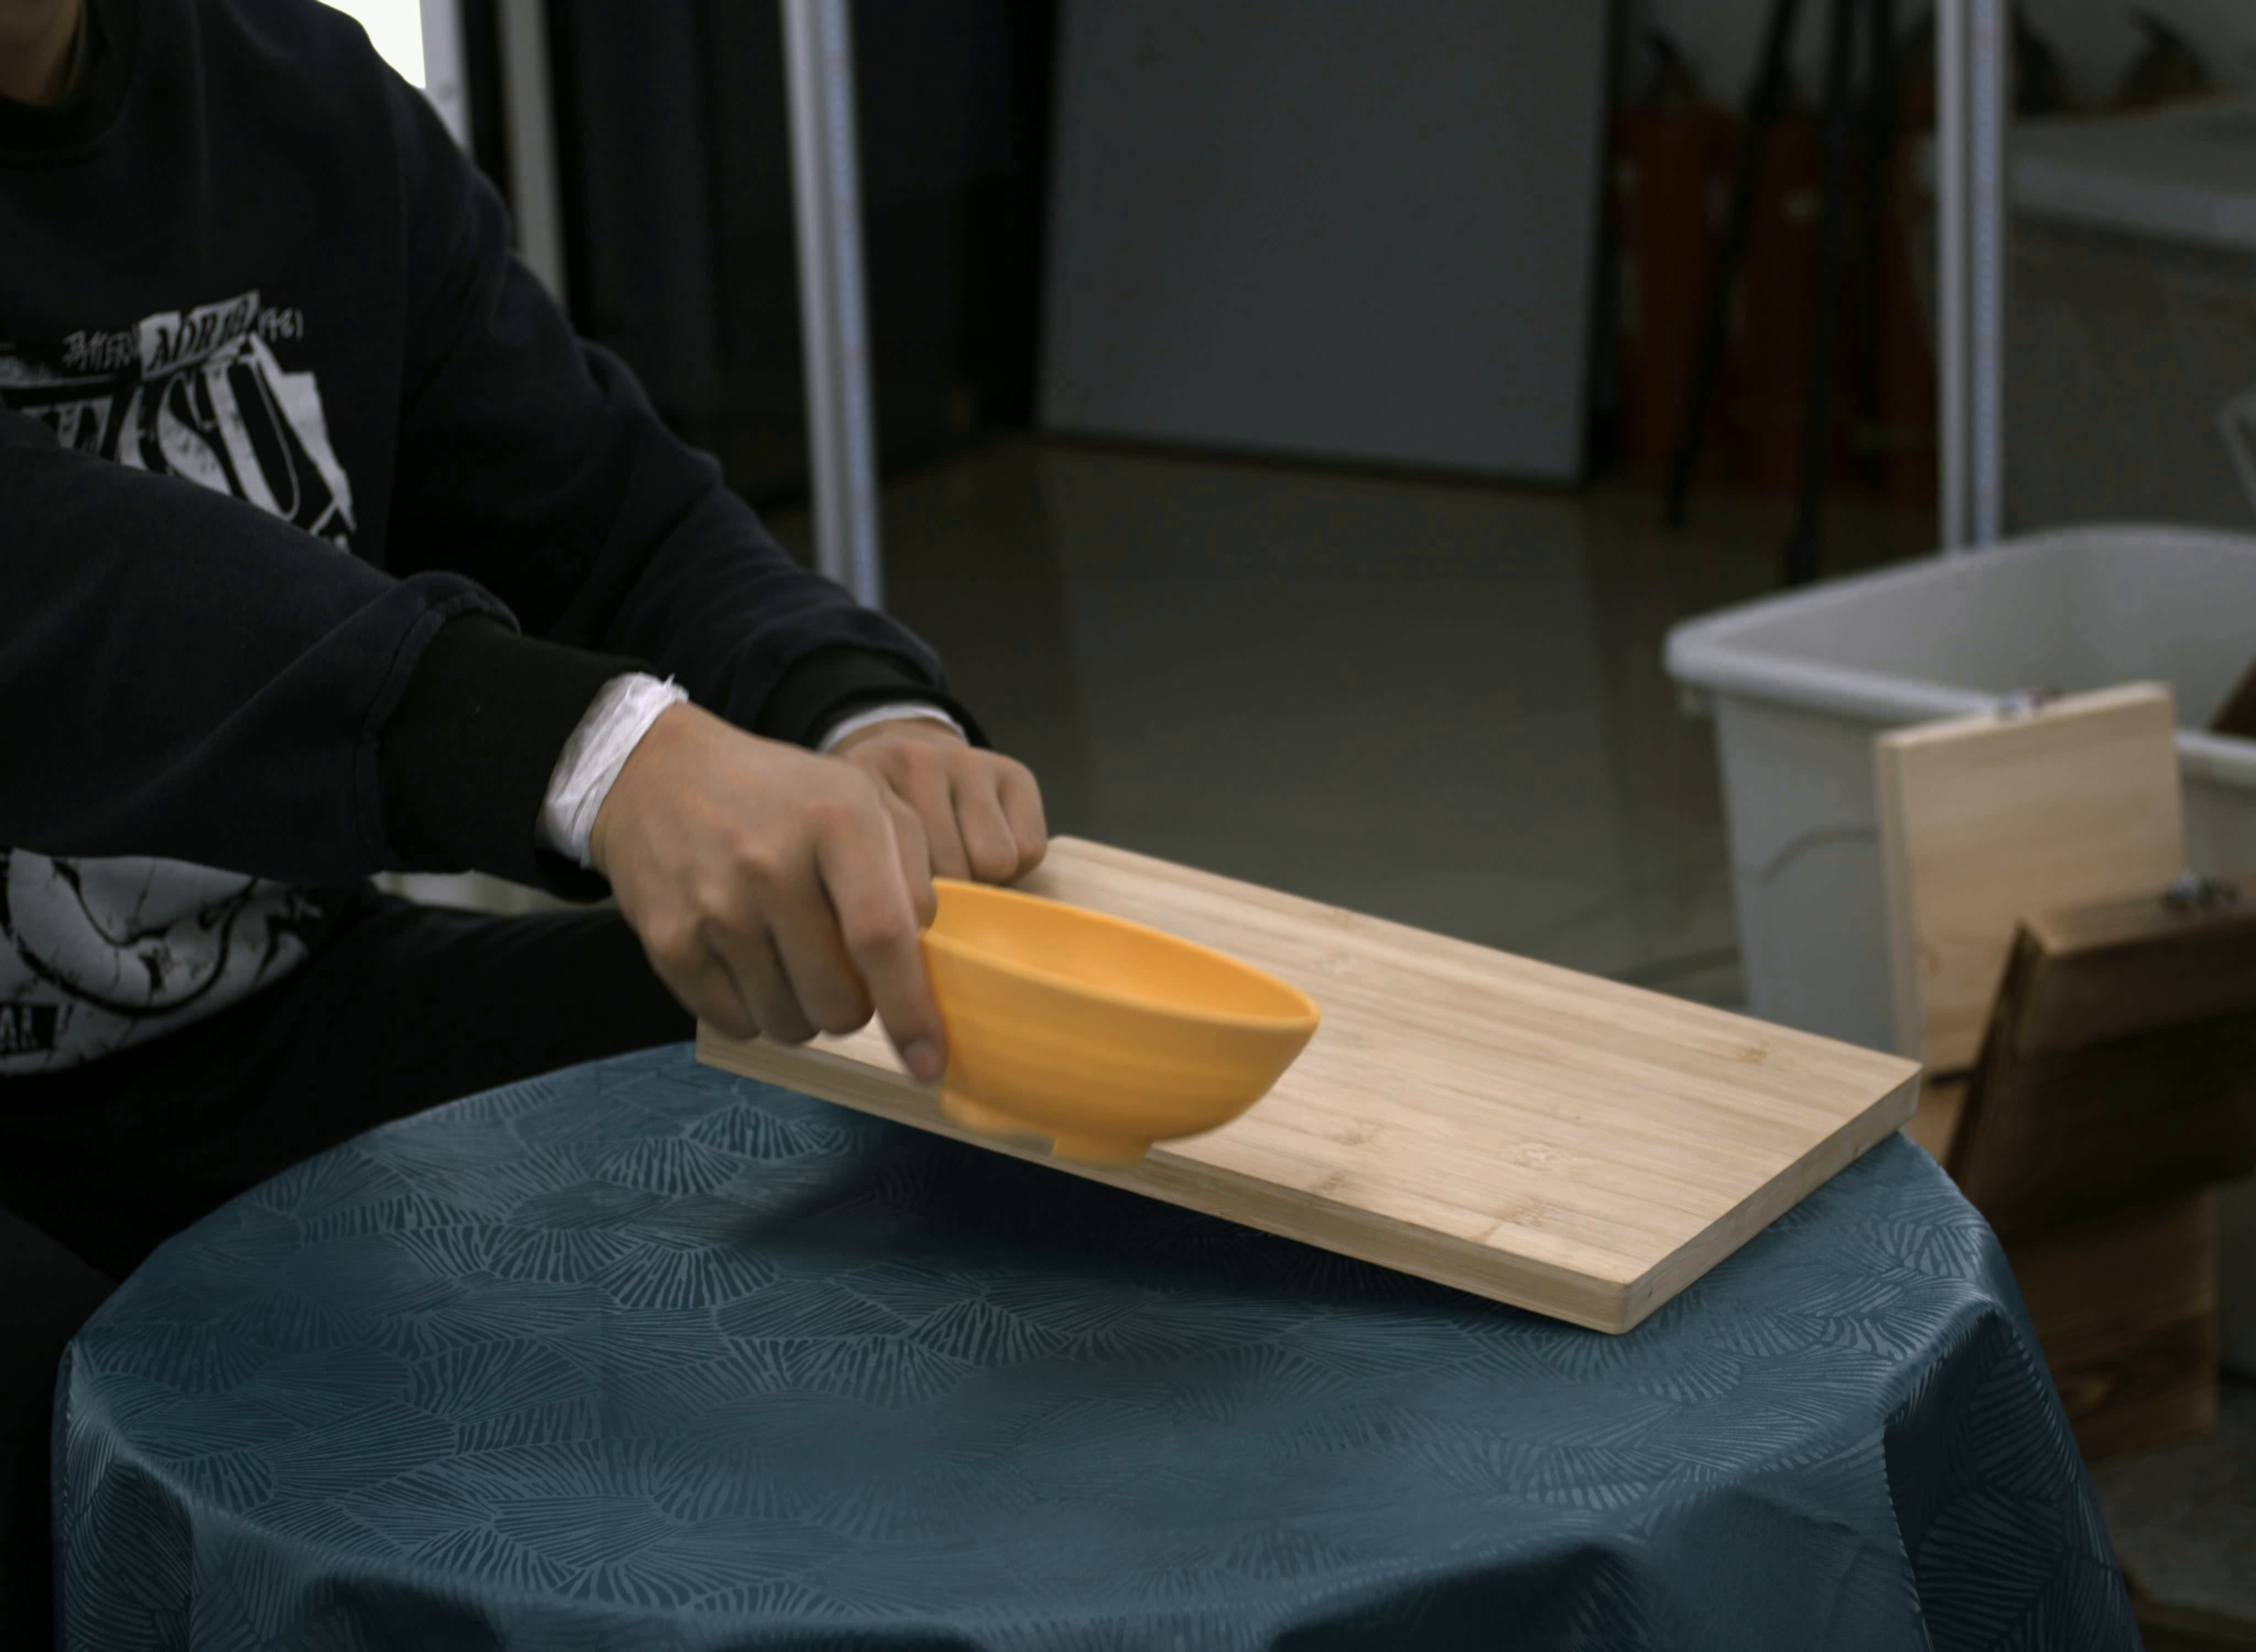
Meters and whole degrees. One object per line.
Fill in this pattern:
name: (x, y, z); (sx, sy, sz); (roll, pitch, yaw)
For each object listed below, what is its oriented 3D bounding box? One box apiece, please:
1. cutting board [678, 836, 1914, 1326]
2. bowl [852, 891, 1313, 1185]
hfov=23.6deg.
cutting board: (0.058, 0.078, 1.782); (0.350, 0.024, 0.247); (14, 20, 27)
bowl: (-0.020, 0.068, 1.600); (0.143, 0.061, 0.145); (15, 6, -3)
